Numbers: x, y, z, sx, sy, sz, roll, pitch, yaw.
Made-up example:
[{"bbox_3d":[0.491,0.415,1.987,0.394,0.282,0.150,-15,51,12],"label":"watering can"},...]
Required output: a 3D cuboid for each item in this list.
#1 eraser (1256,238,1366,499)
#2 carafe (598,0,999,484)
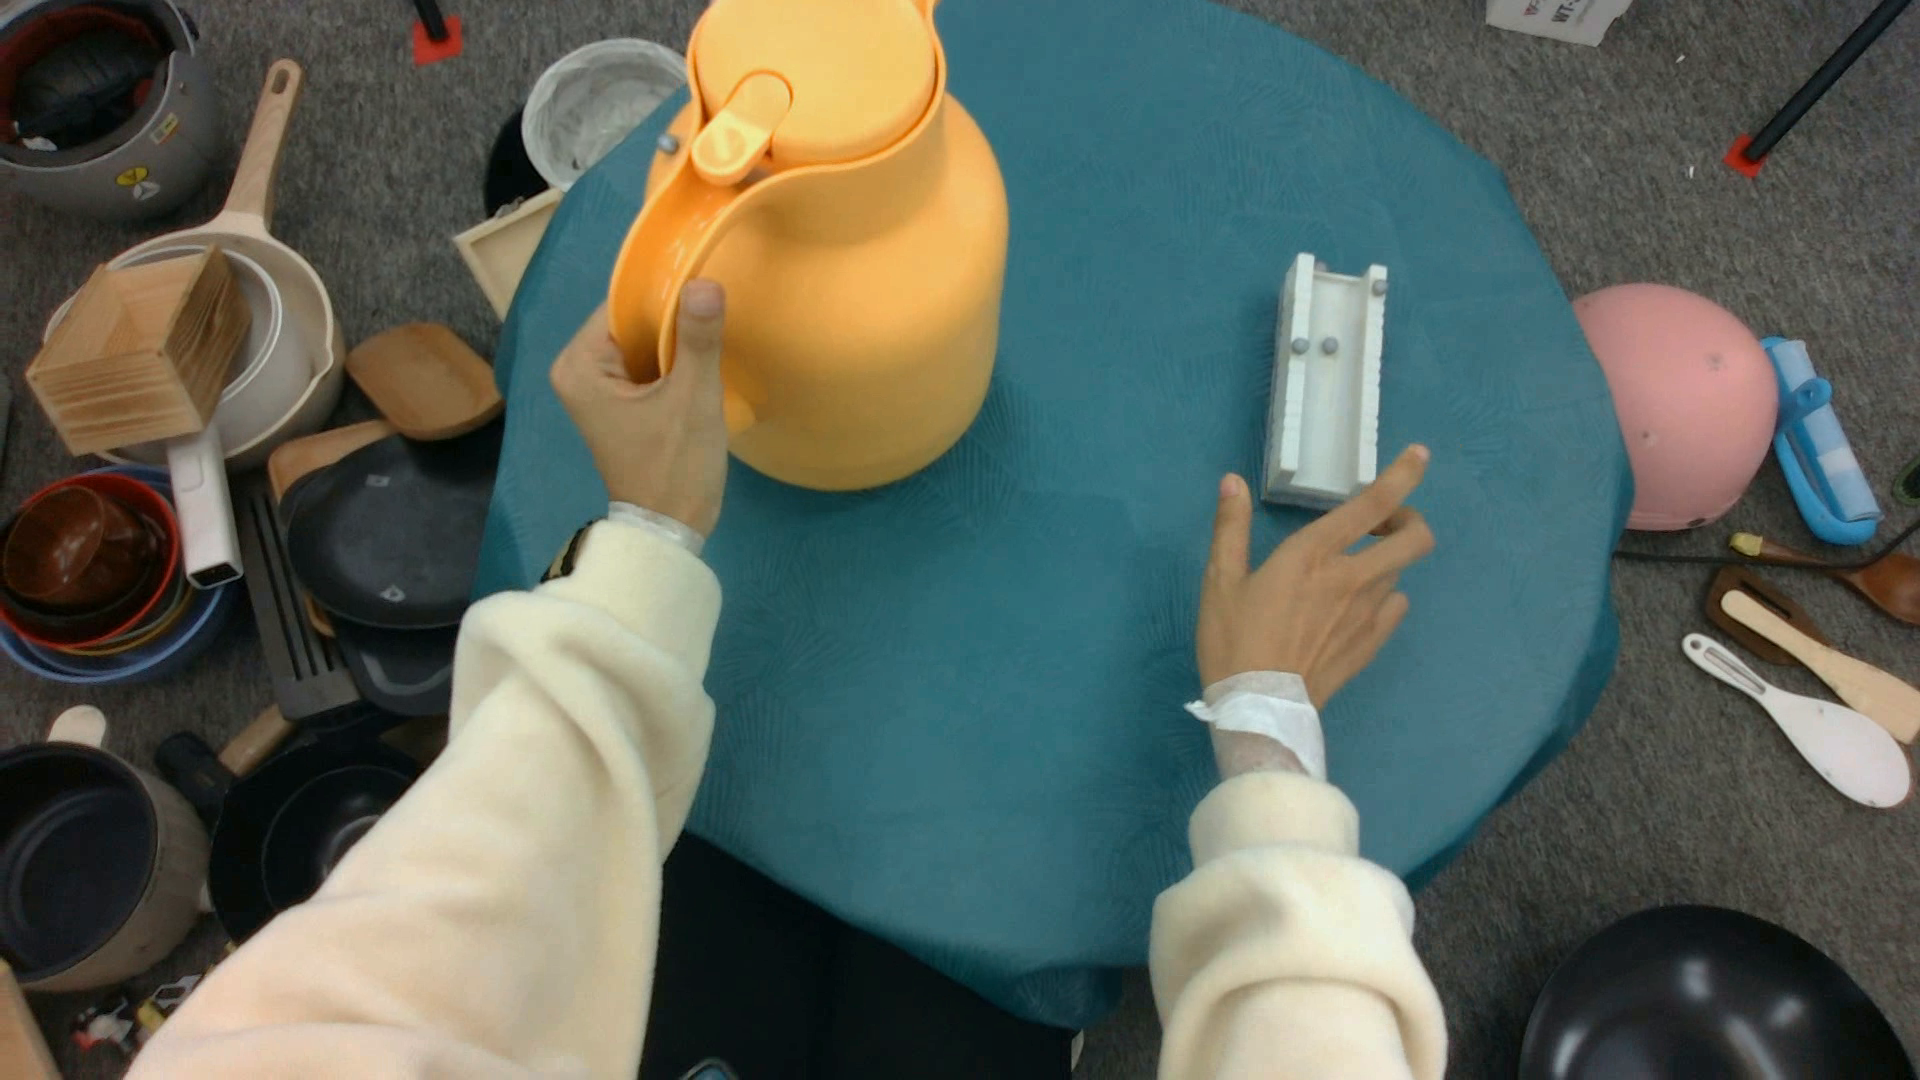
[{"bbox_3d":[0.187,-0.092,0.738,0.050,0.046,0.135,9,67,-4],"label":"eraser"},{"bbox_3d":[-0.076,-0.129,0.615,0.163,0.259,0.203,34,68,12],"label":"carafe"}]
